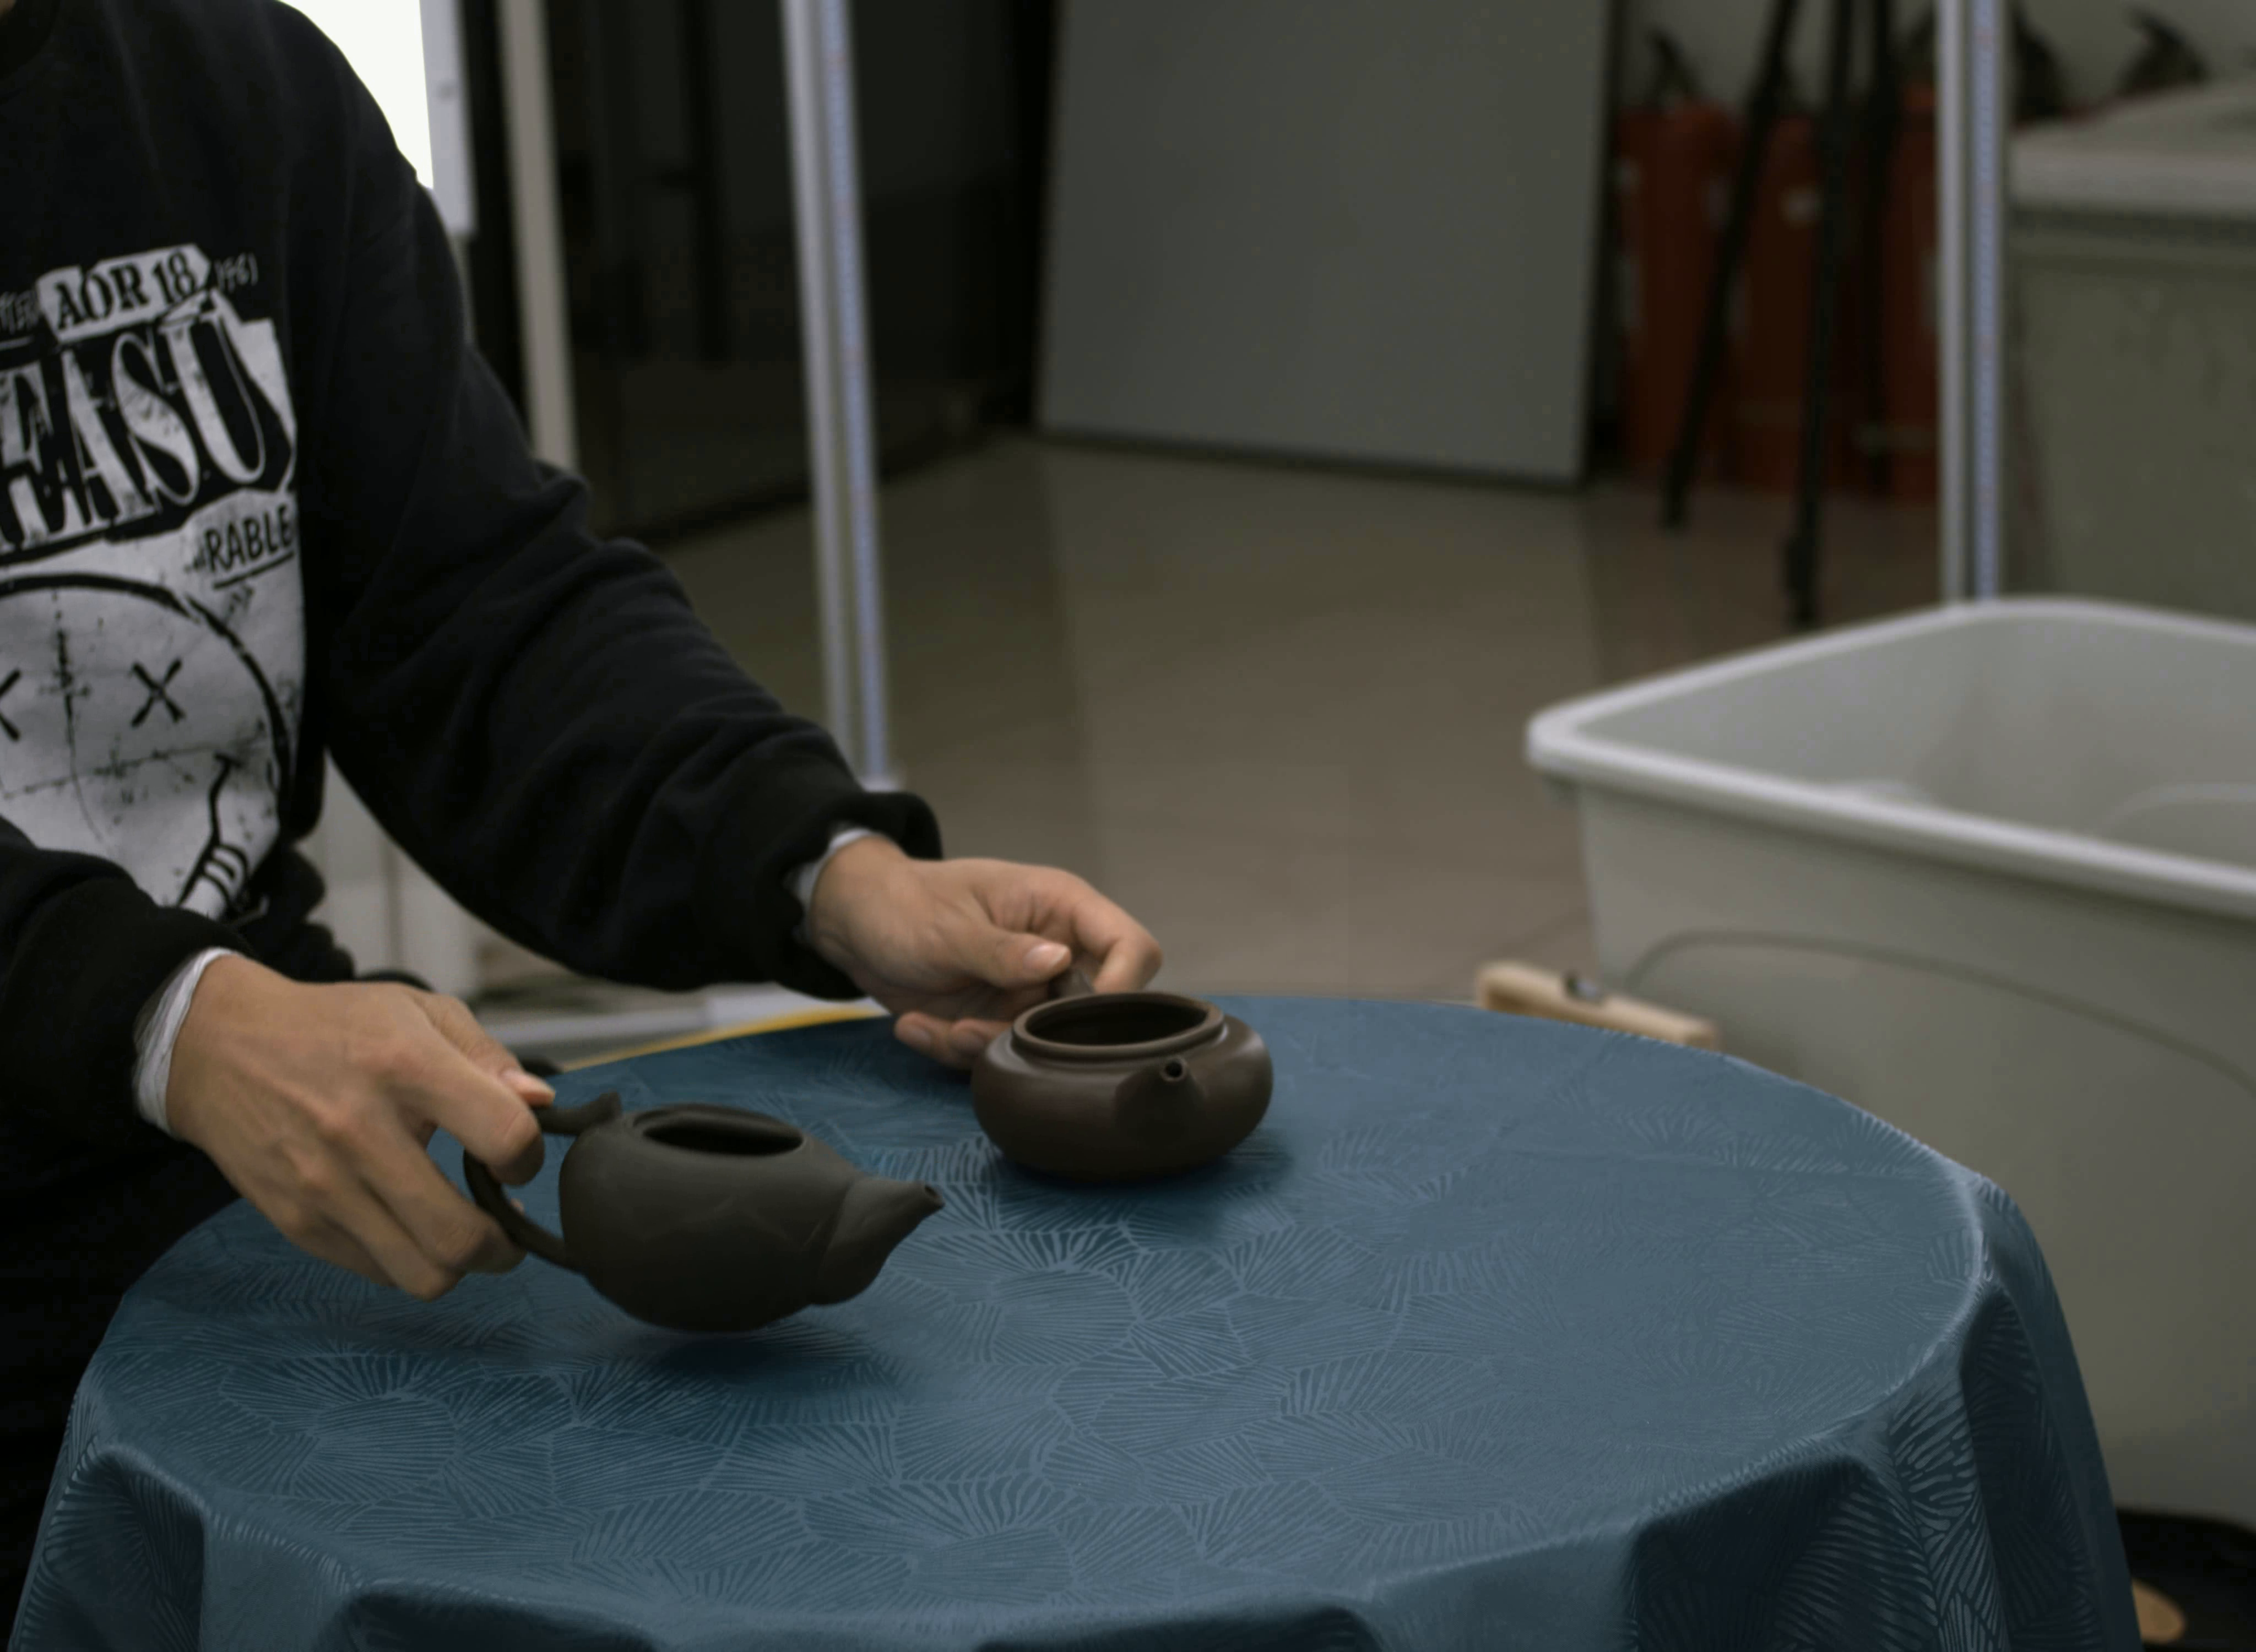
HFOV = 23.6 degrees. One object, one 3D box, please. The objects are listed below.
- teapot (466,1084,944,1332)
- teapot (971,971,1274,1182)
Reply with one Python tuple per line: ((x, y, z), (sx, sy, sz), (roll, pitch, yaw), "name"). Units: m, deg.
((-0.131, 0.116, 1.649), (0.153, 0.065, 0.091), (11, 9, 14), "teapot")
((-0.003, 0.084, 1.810), (0.100, 0.054, 0.155), (-7, 14, -19), "teapot")
